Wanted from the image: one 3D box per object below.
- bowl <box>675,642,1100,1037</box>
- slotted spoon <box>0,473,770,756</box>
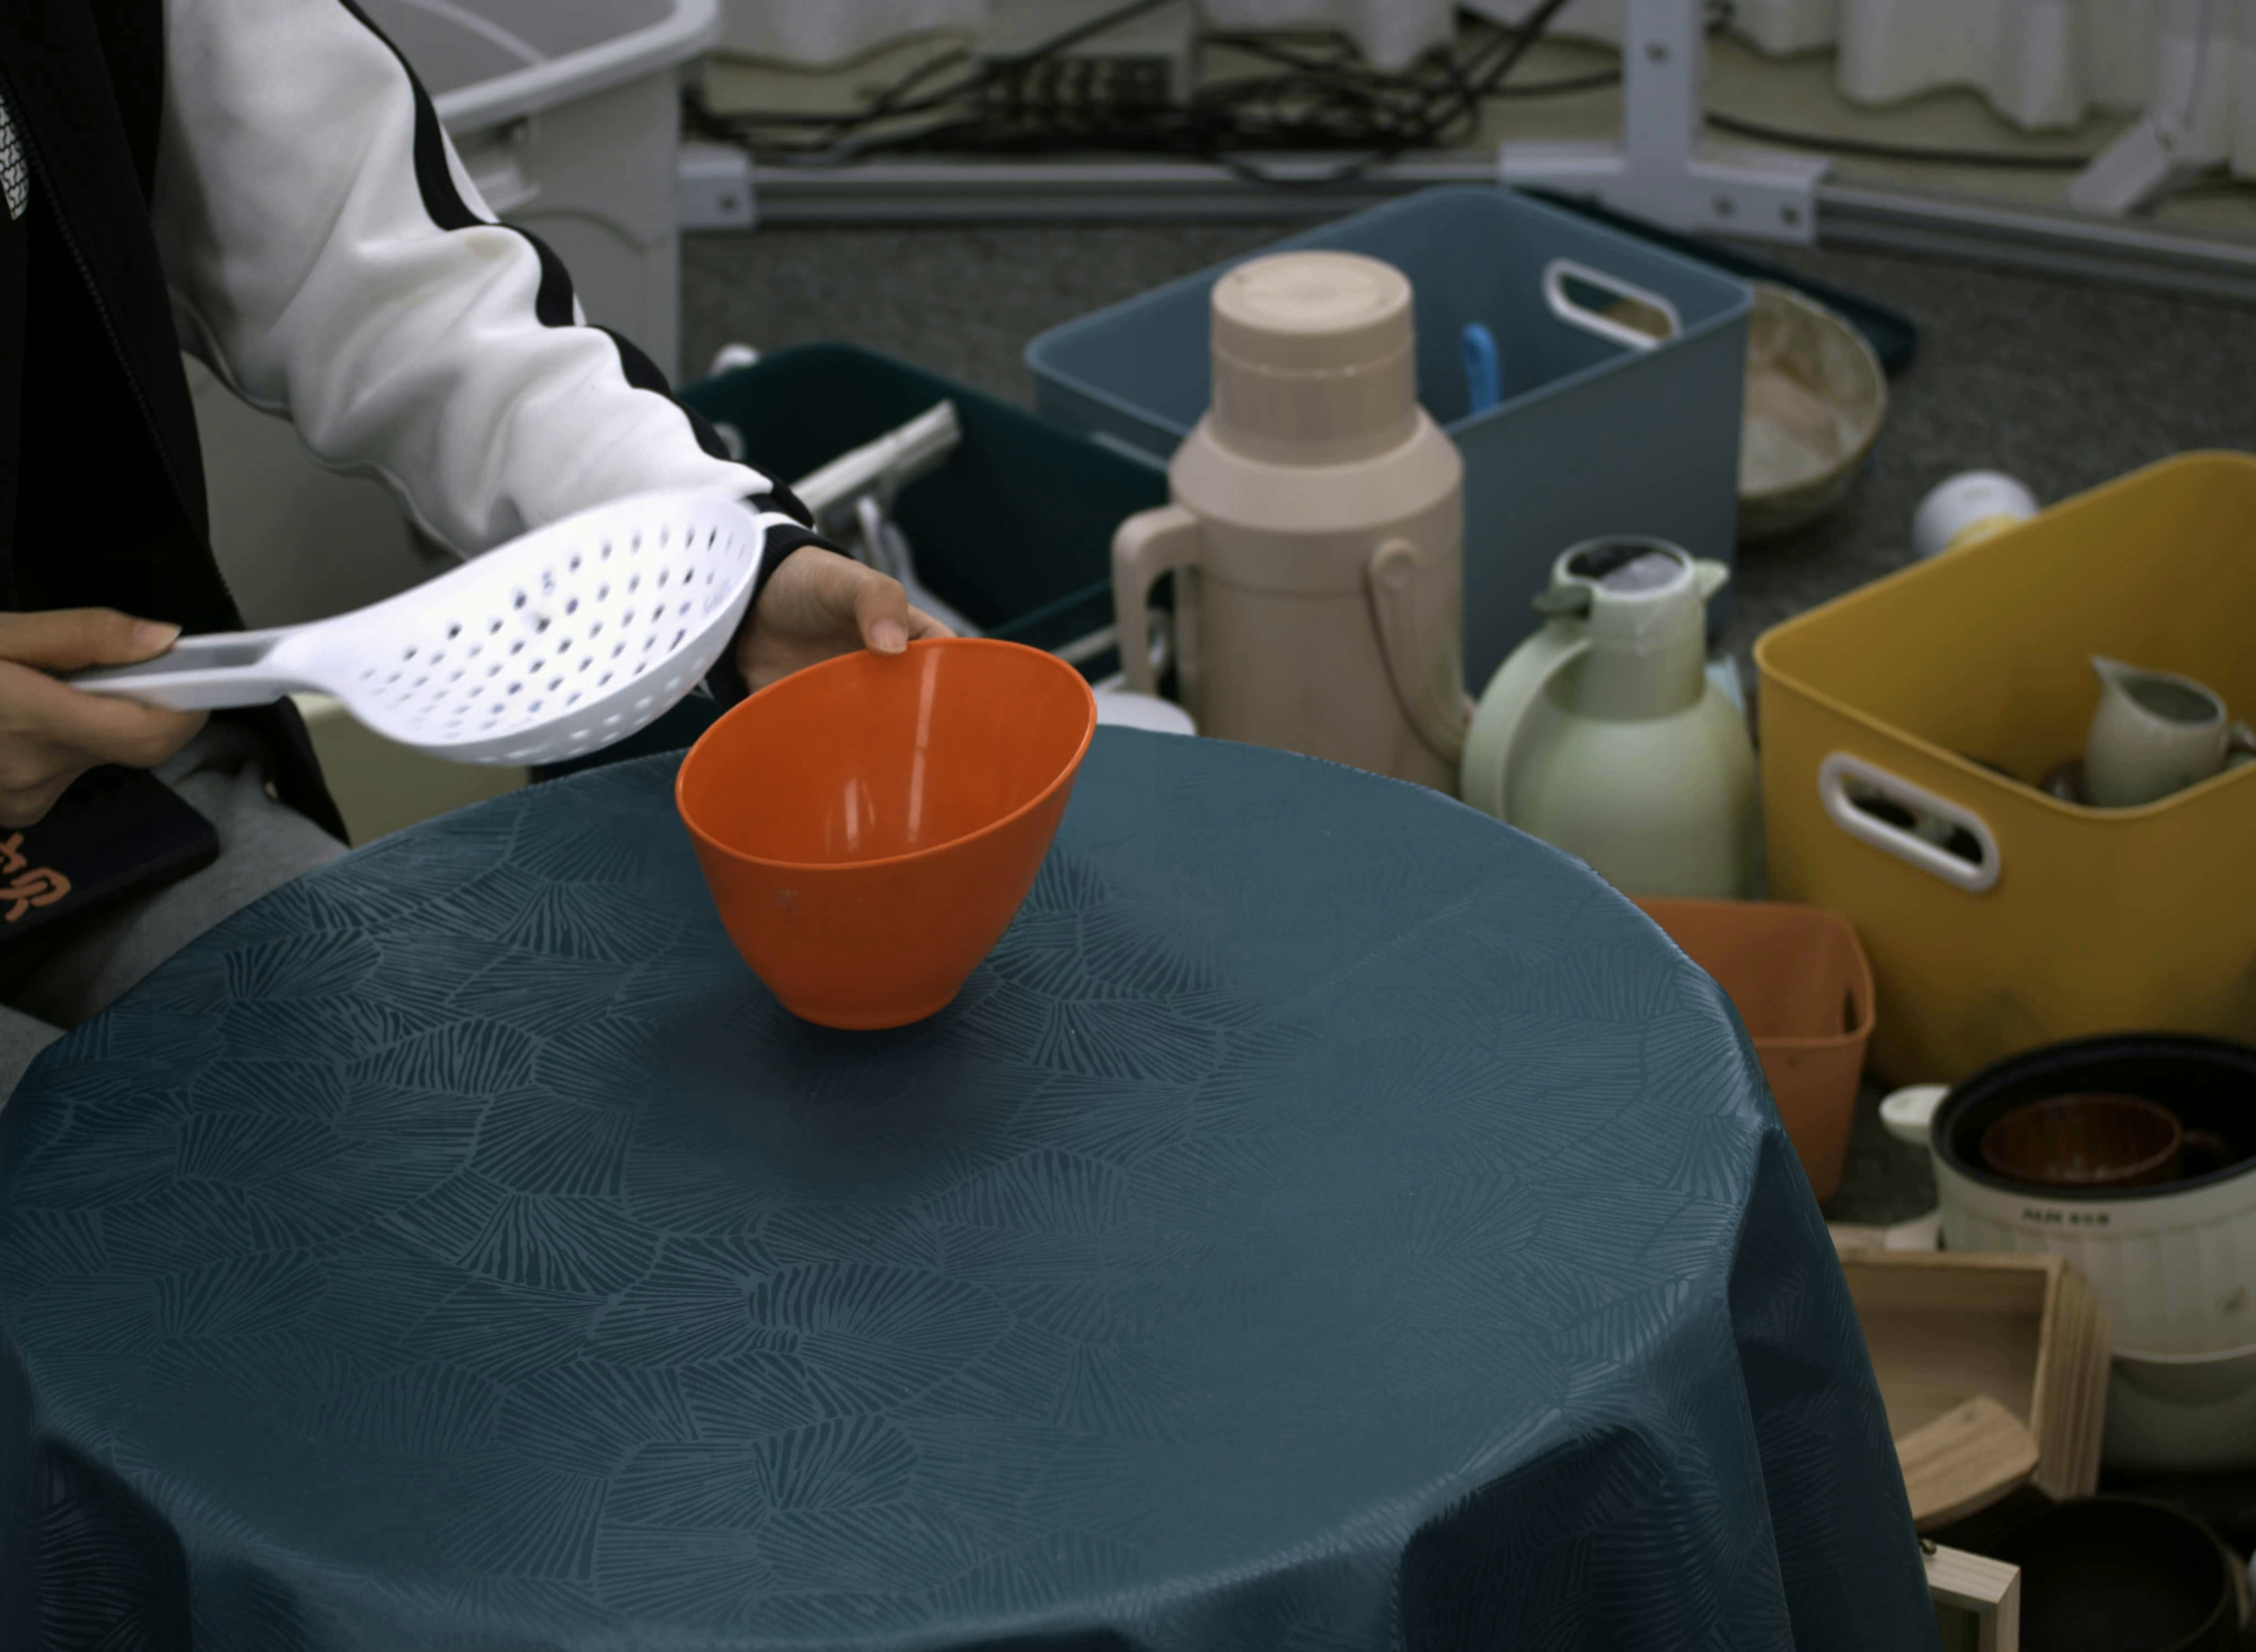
[{"bbox_3d":[-0.082,0.011,1.952,0.147,0.103,0.150,-1,29,1],"label":"bowl"},{"bbox_3d":[-0.261,-0.057,1.822,0.346,0.045,0.139,0,38,29],"label":"slotted spoon"}]
